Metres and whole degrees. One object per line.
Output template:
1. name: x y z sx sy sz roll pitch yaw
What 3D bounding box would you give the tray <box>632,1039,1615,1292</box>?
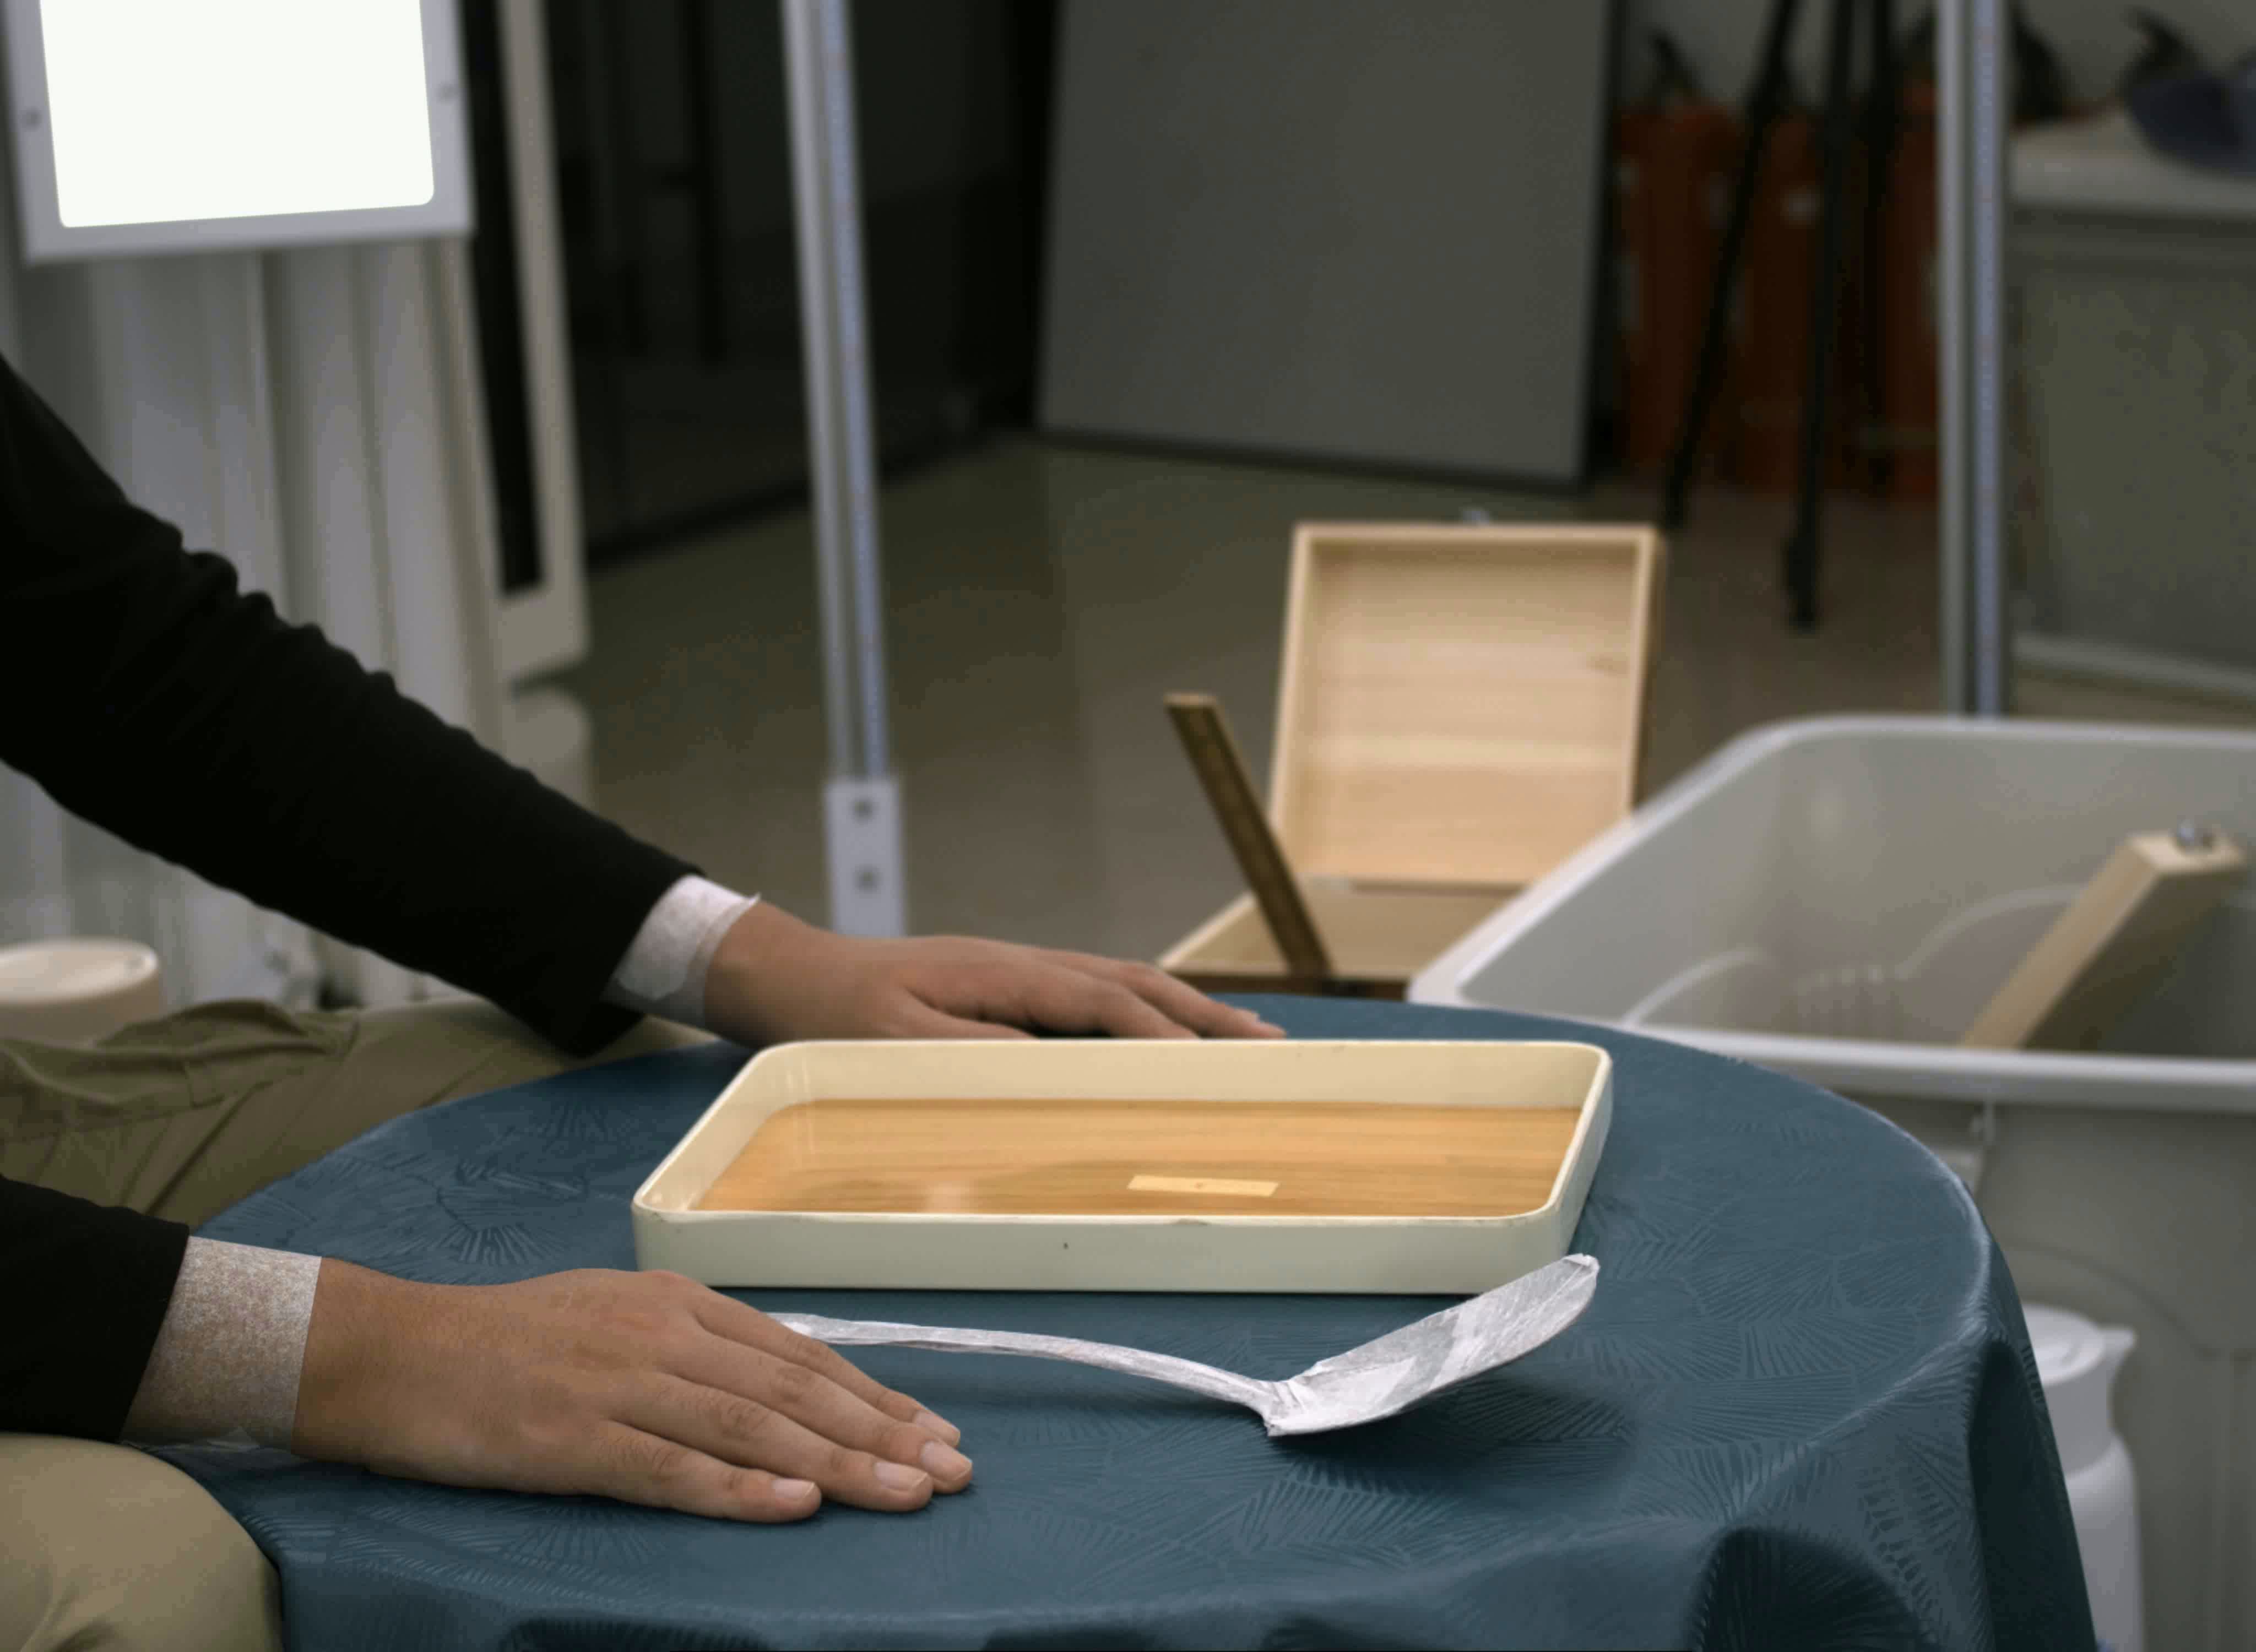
1. tray: 0.003 0.110 1.757 0.298 0.028 0.190 -1 14 14

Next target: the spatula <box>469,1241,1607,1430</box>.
1. spatula: -0.037 0.148 1.588 0.364 0.045 0.098 1 15 20
